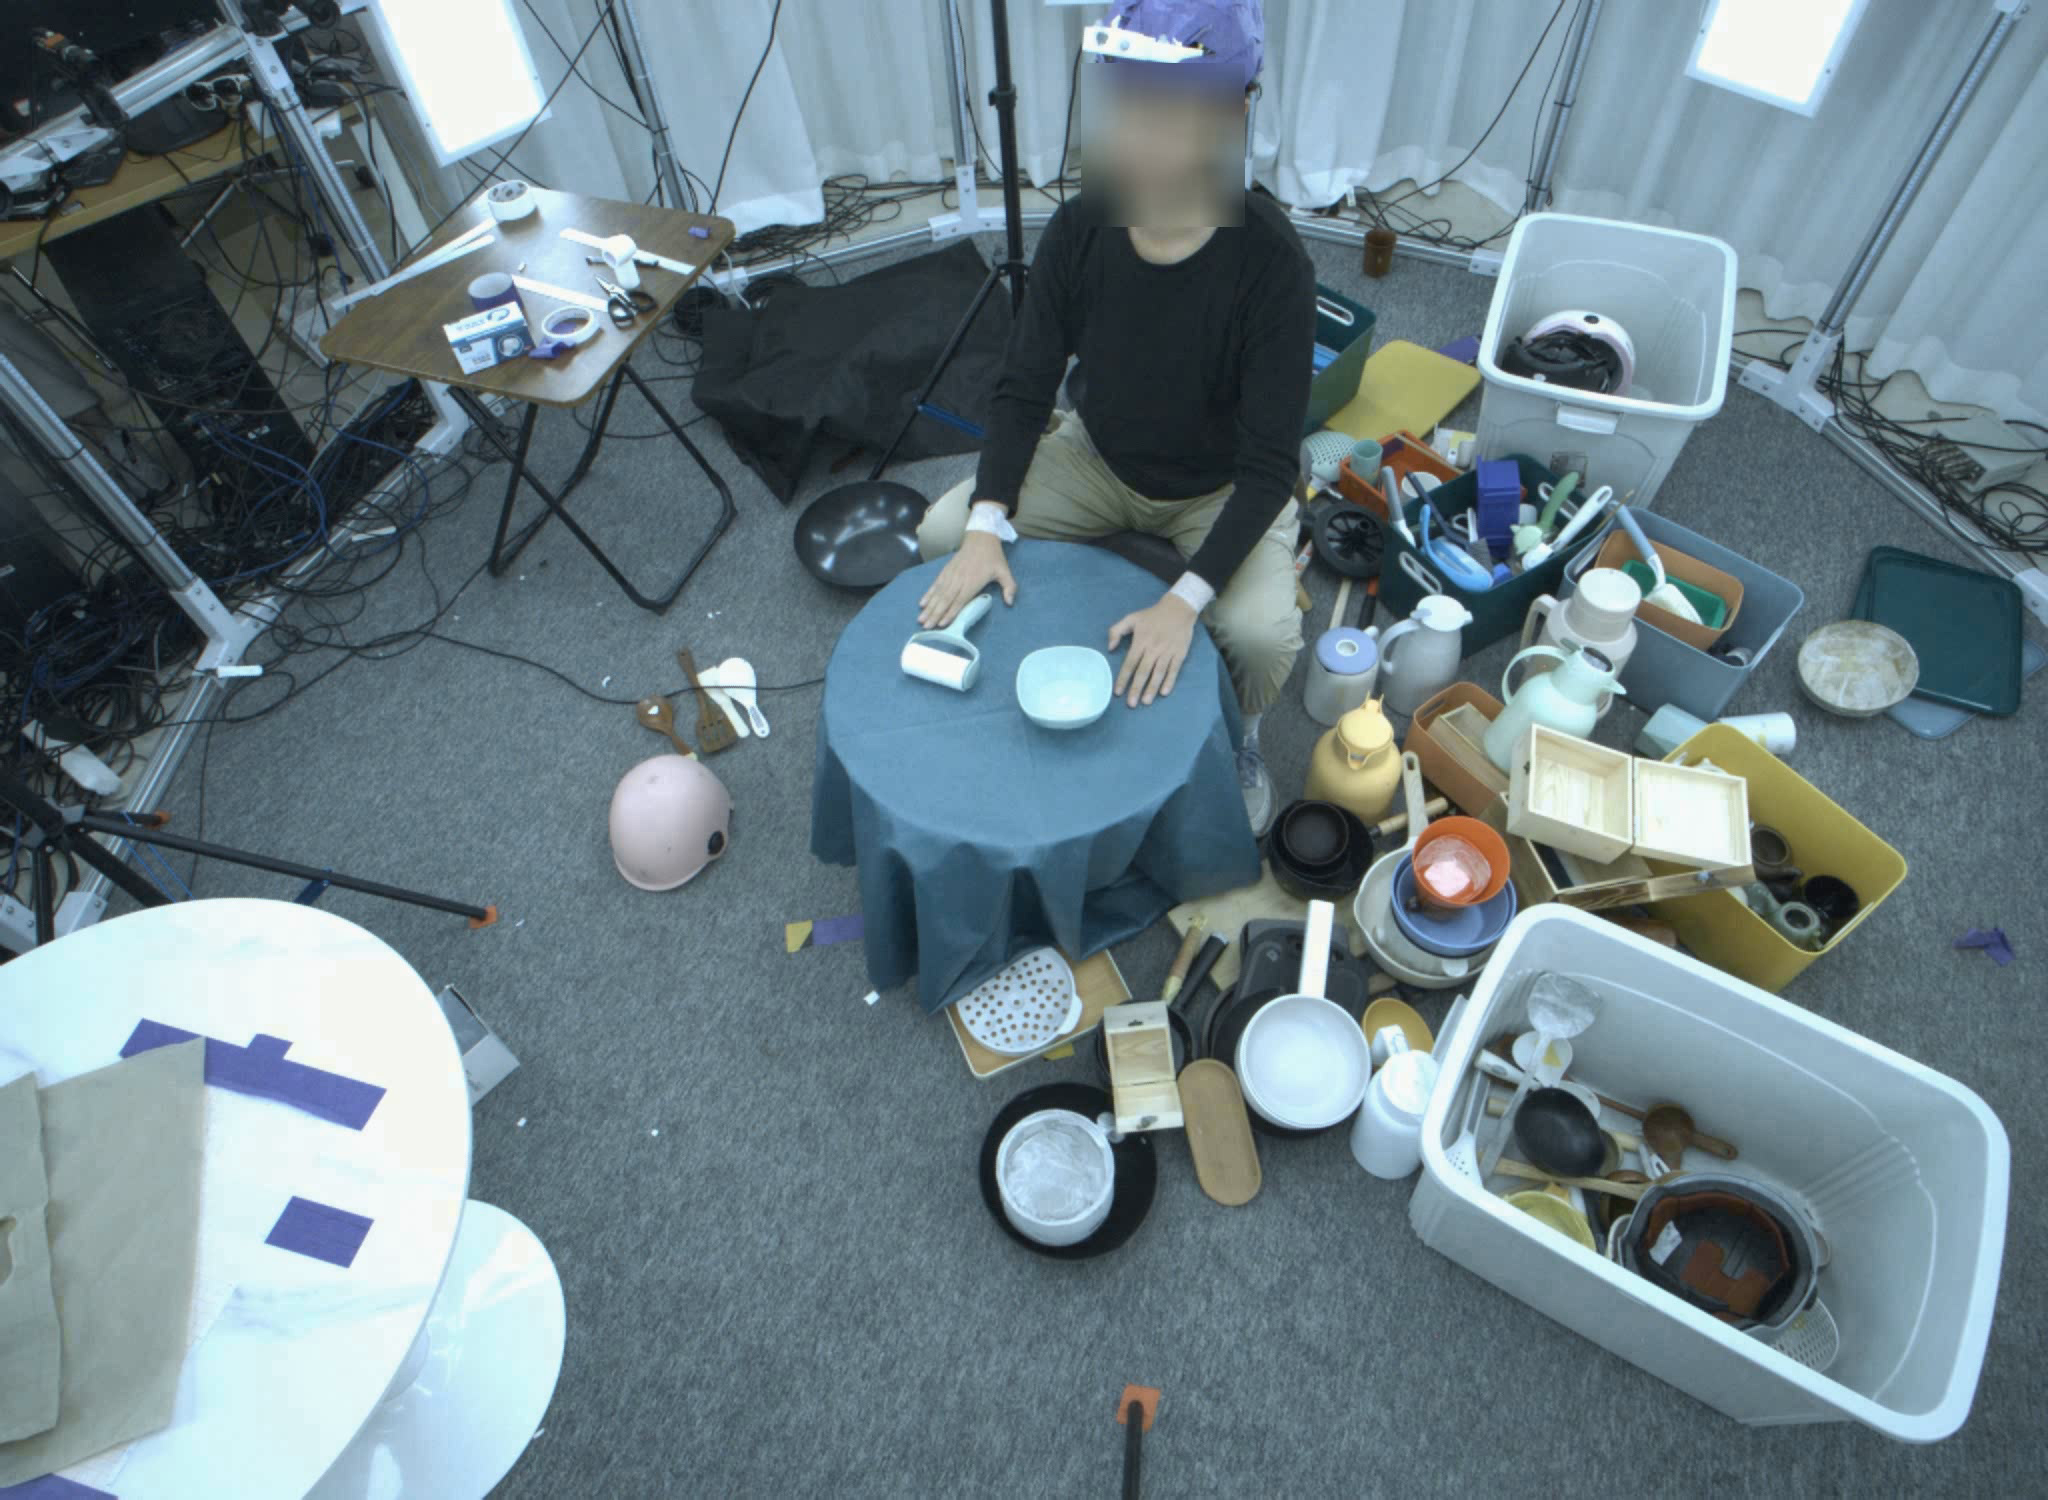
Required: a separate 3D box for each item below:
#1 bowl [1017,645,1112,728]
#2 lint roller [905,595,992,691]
[{"bbox_3d":[0.061,-0.083,1.810,0.151,0.059,0.150,-1,56,3],"label":"bowl"},{"bbox_3d":[-0.093,-0.178,1.889,0.115,0.049,0.197,18,56,16],"label":"lint roller"}]
